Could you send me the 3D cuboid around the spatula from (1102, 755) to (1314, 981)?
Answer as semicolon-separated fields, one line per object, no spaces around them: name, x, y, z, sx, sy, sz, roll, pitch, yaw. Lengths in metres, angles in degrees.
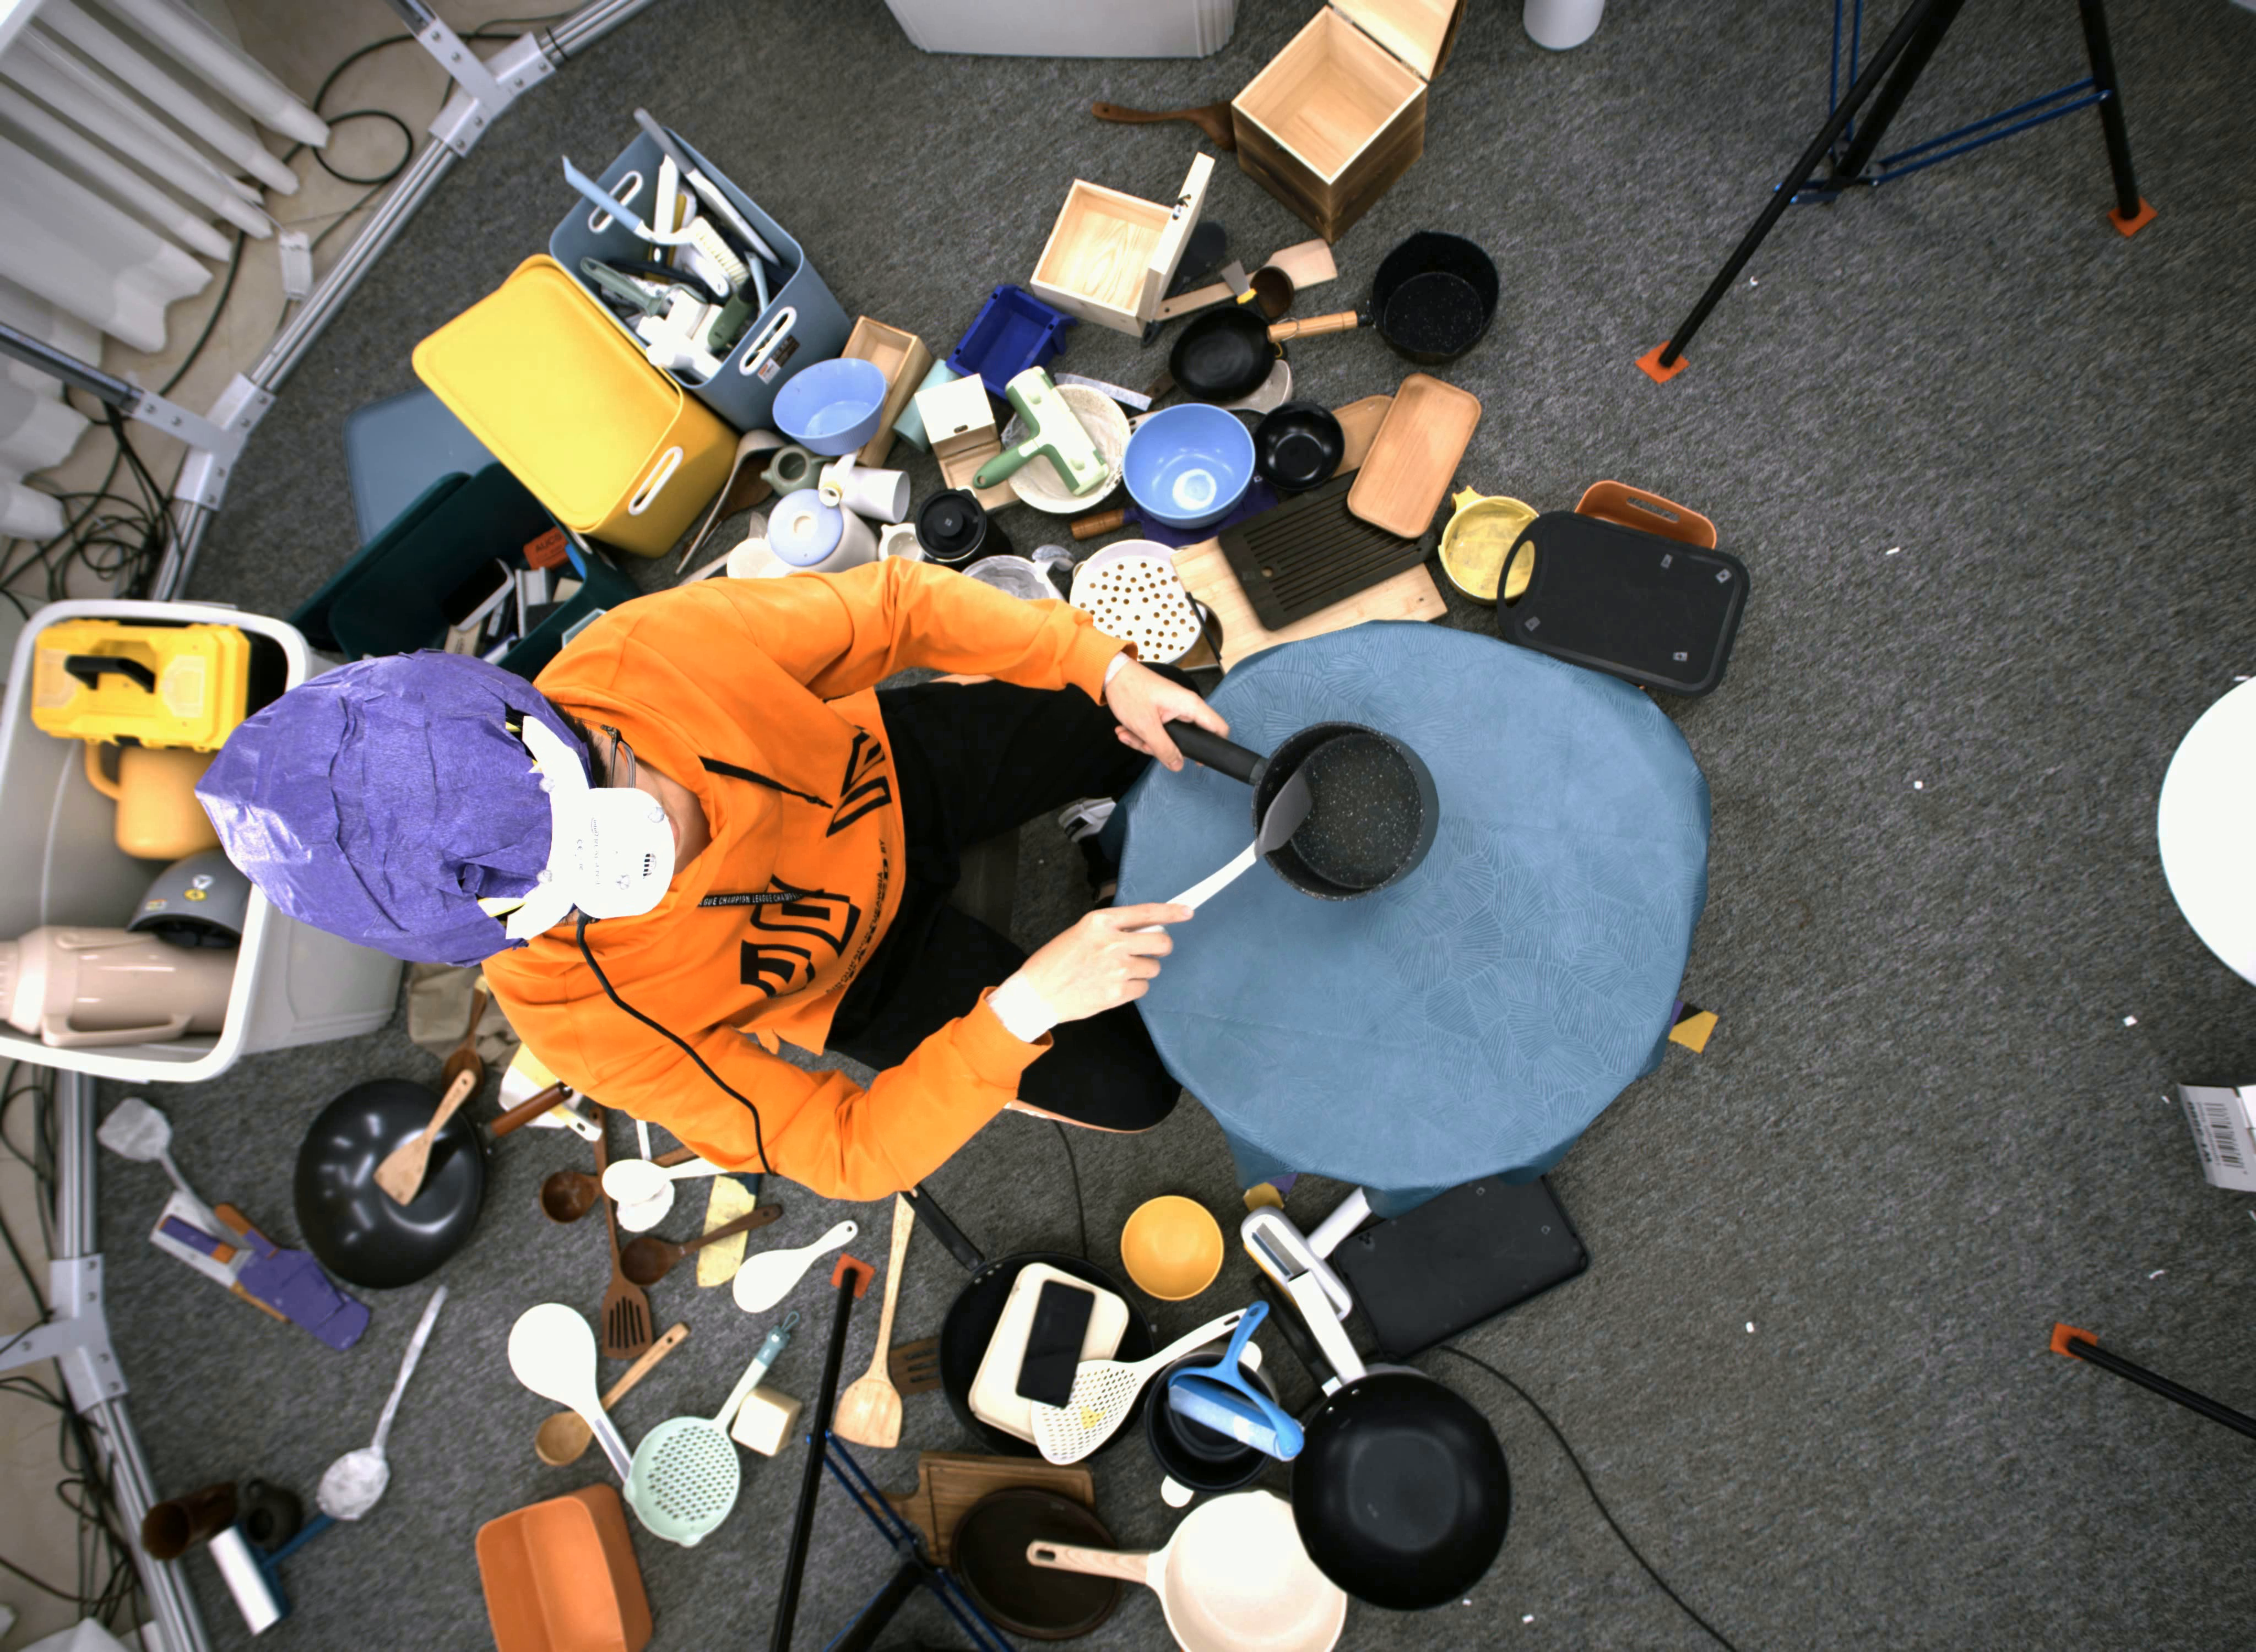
spatula;0.086;0.039;1.304;0.283;0.060;0.032;-42;38;-20

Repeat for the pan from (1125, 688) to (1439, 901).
pan;0.148;-0.050;1.367;0.327;0.086;0.174;30;105;22
